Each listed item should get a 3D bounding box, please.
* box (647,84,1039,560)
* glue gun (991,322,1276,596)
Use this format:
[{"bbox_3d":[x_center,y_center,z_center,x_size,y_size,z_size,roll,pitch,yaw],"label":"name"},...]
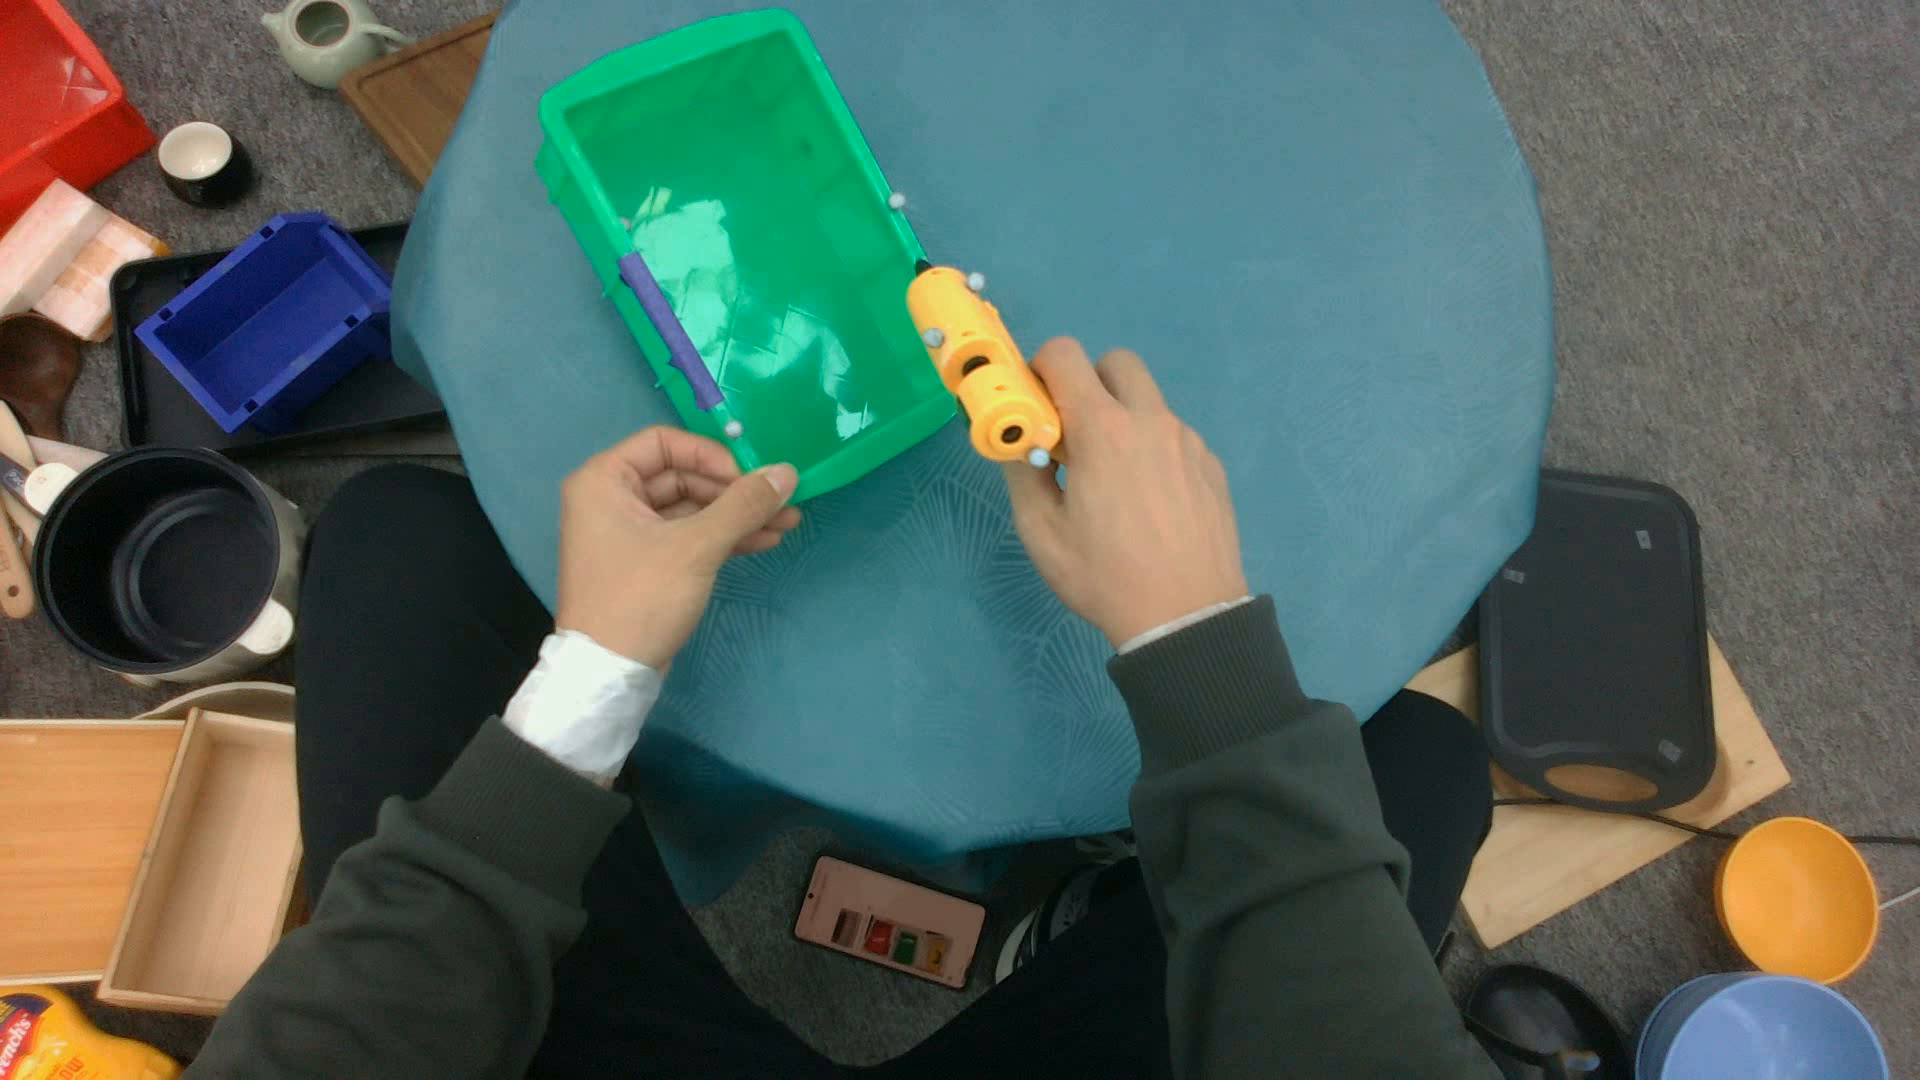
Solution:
[{"bbox_3d":[-0.052,-0.102,0.671,0.139,0.065,0.210,-31,97,-26],"label":"box"},{"bbox_3d":[0.070,-0.045,0.630,0.031,0.133,0.152,-50,37,22],"label":"glue gun"}]
